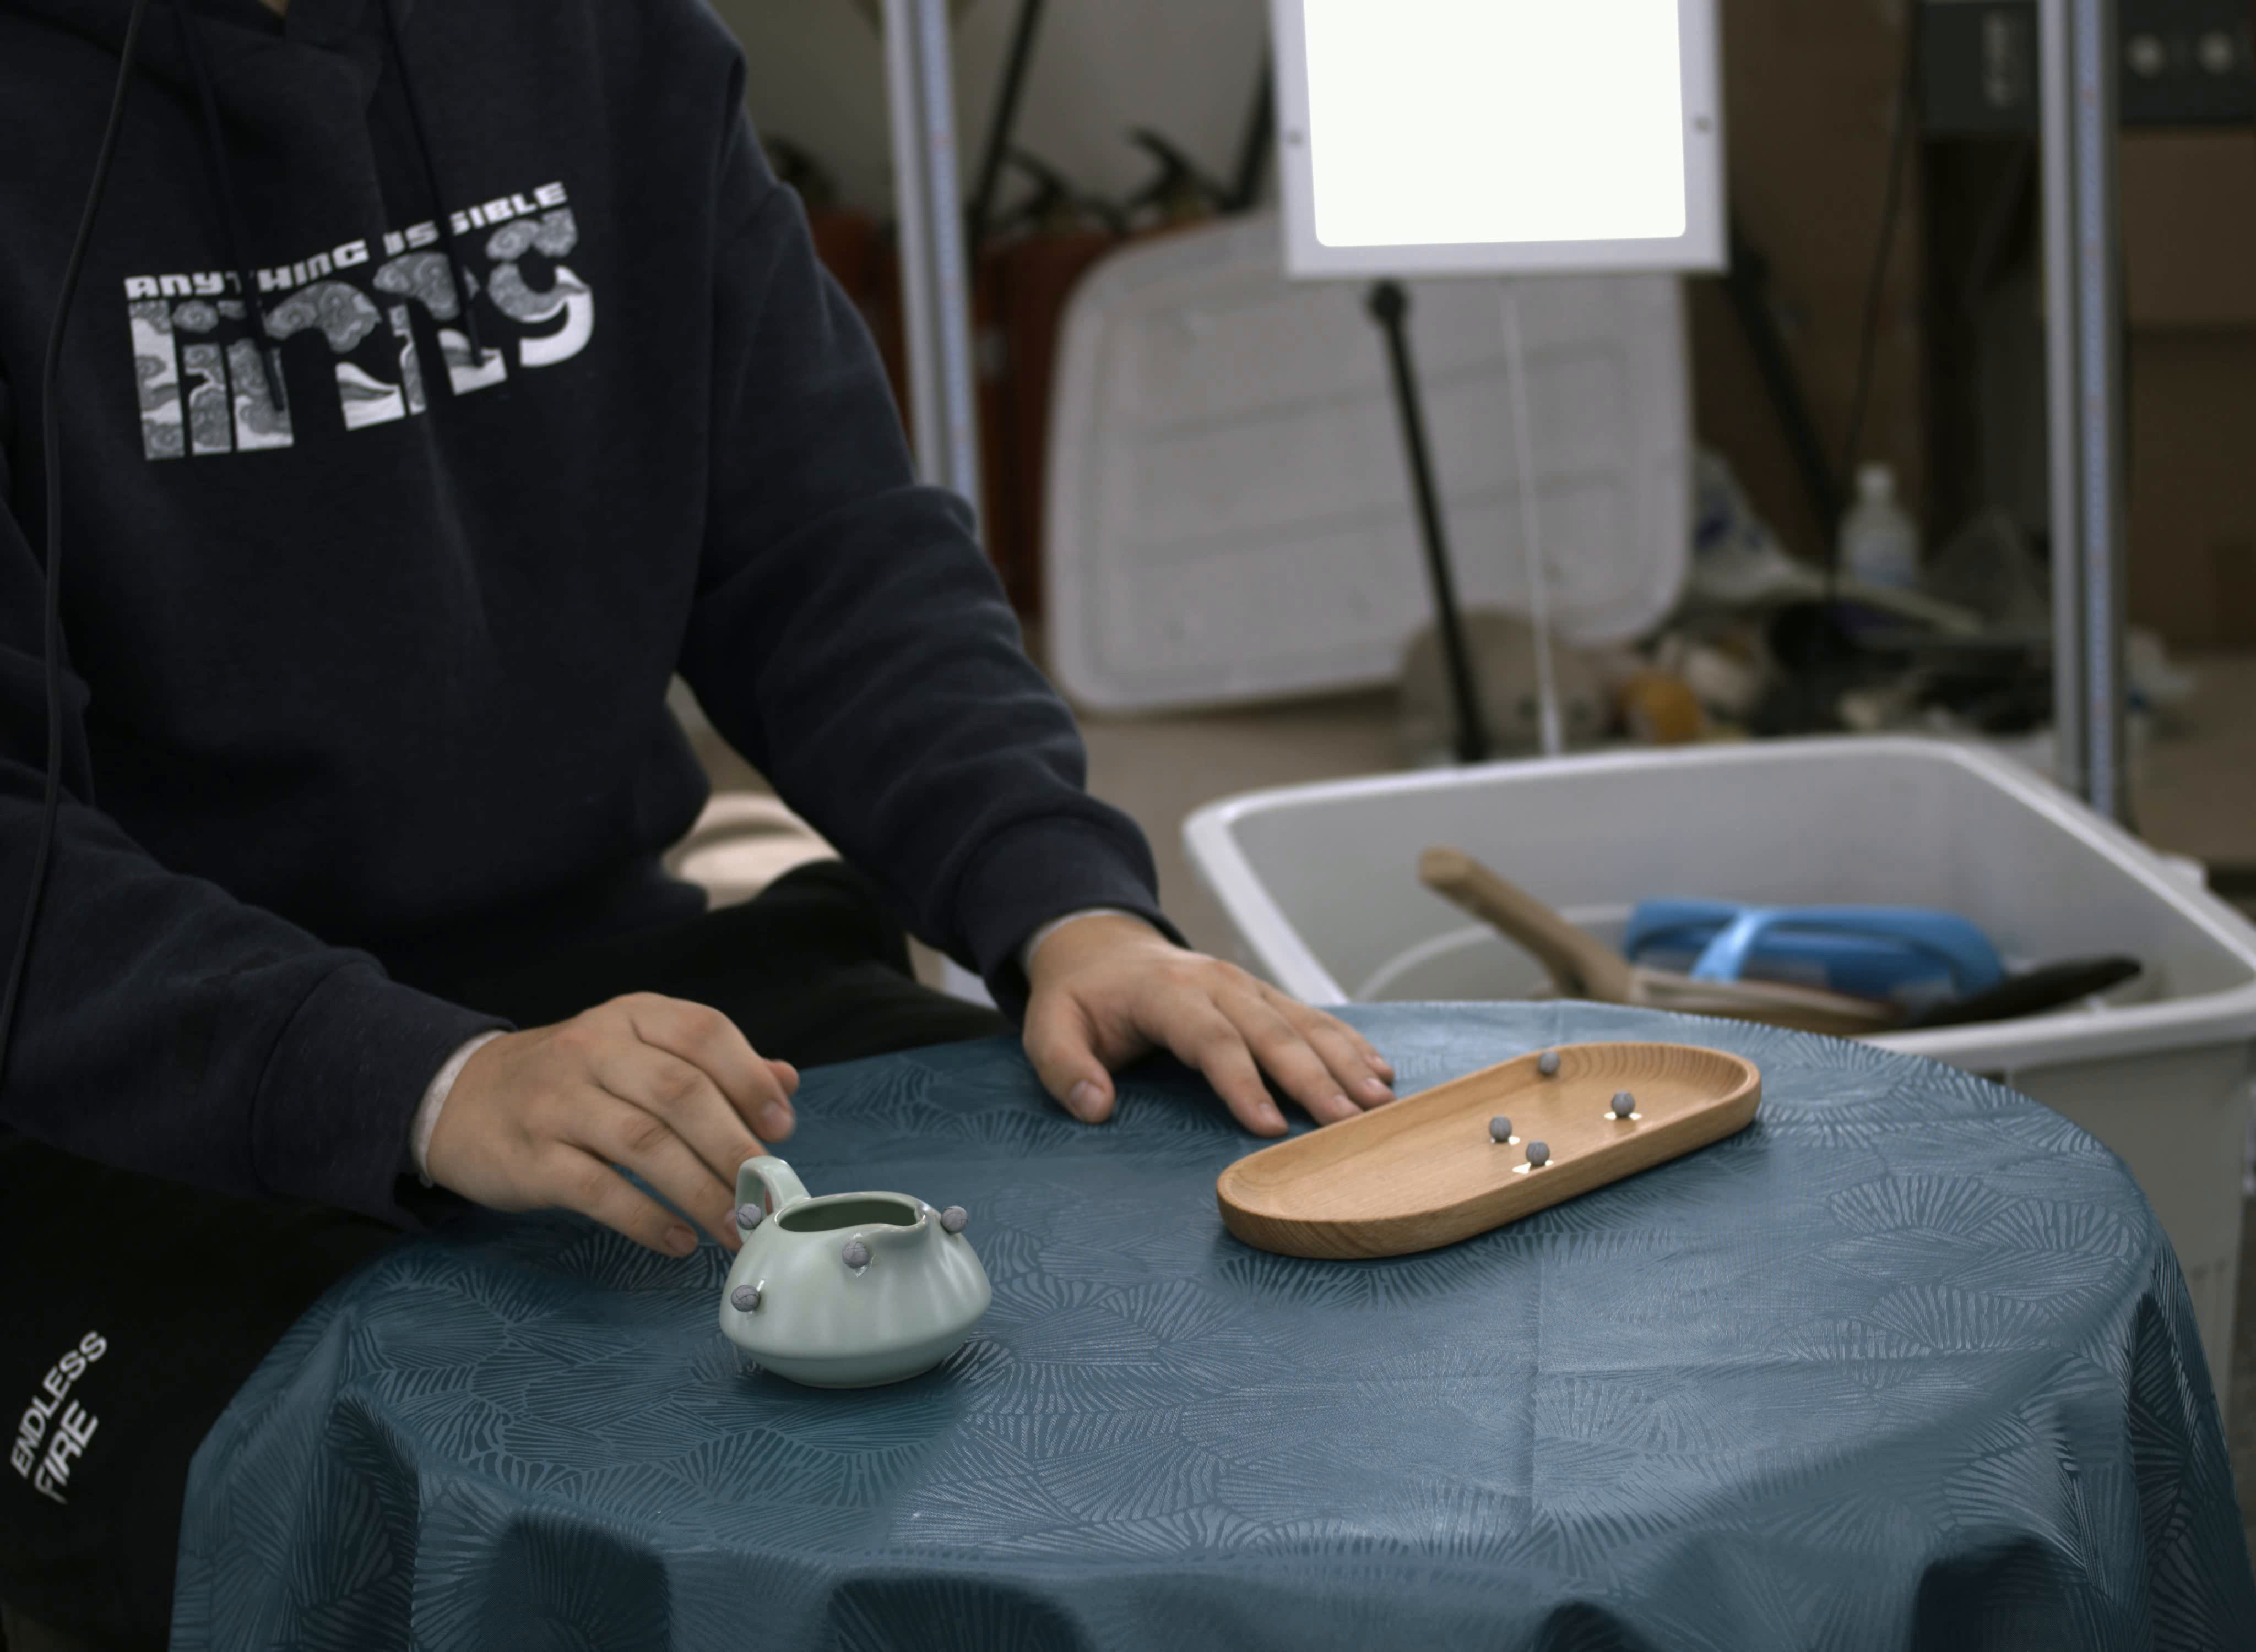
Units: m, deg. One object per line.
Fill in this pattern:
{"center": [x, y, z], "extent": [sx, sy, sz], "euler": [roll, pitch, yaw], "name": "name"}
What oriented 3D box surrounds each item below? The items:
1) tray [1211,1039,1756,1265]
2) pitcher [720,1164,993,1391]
{"center": [0.125, 0.111, 1.887], "extent": [0.225, 0.020, 0.104], "euler": [-20, 18, -40], "name": "tray"}
{"center": [-0.093, 0.143, 1.748], "extent": [0.084, 0.060, 0.110], "euler": [-12, 13, -33], "name": "pitcher"}
